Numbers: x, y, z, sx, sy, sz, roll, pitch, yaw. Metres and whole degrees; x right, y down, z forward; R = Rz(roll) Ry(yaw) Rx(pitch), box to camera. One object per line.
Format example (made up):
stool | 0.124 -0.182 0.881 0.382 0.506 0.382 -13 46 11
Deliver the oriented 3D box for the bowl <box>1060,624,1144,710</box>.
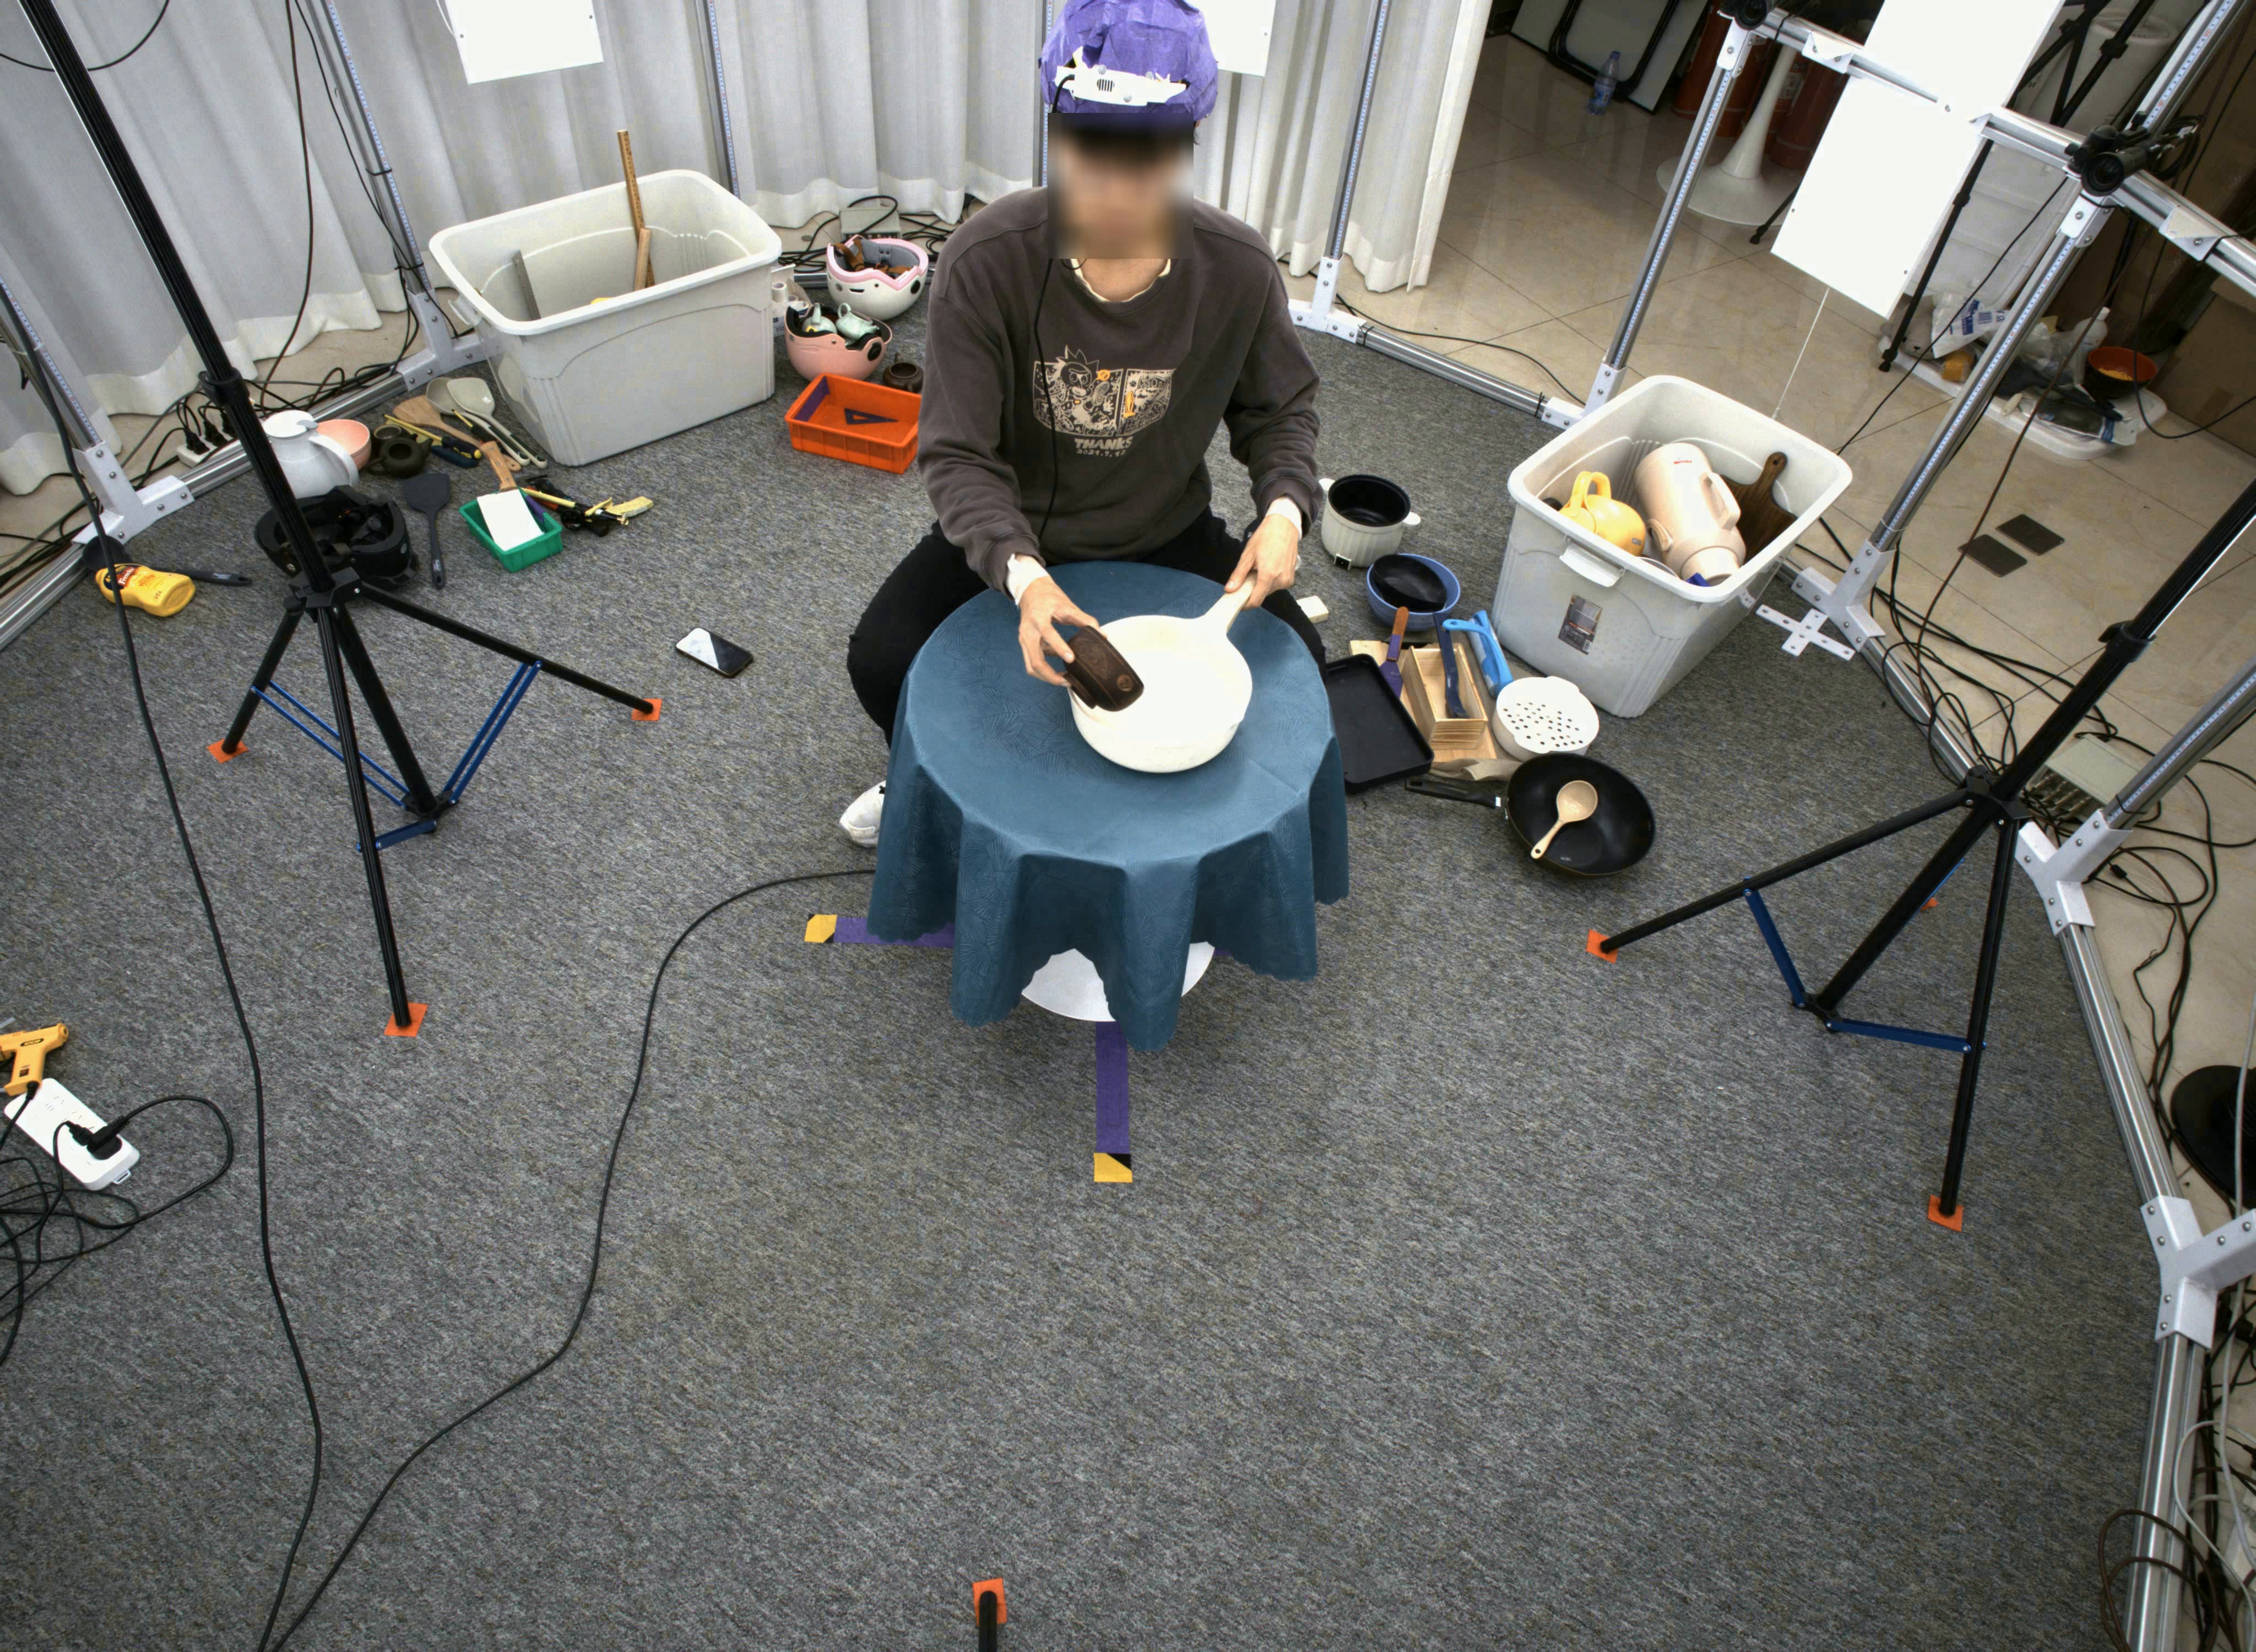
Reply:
bowl | -0.043 -0.197 1.664 0.070 0.116 0.120 -44 61 -3

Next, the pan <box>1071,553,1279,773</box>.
pan | 0.096 -0.235 1.814 0.266 0.099 0.441 27 52 21
